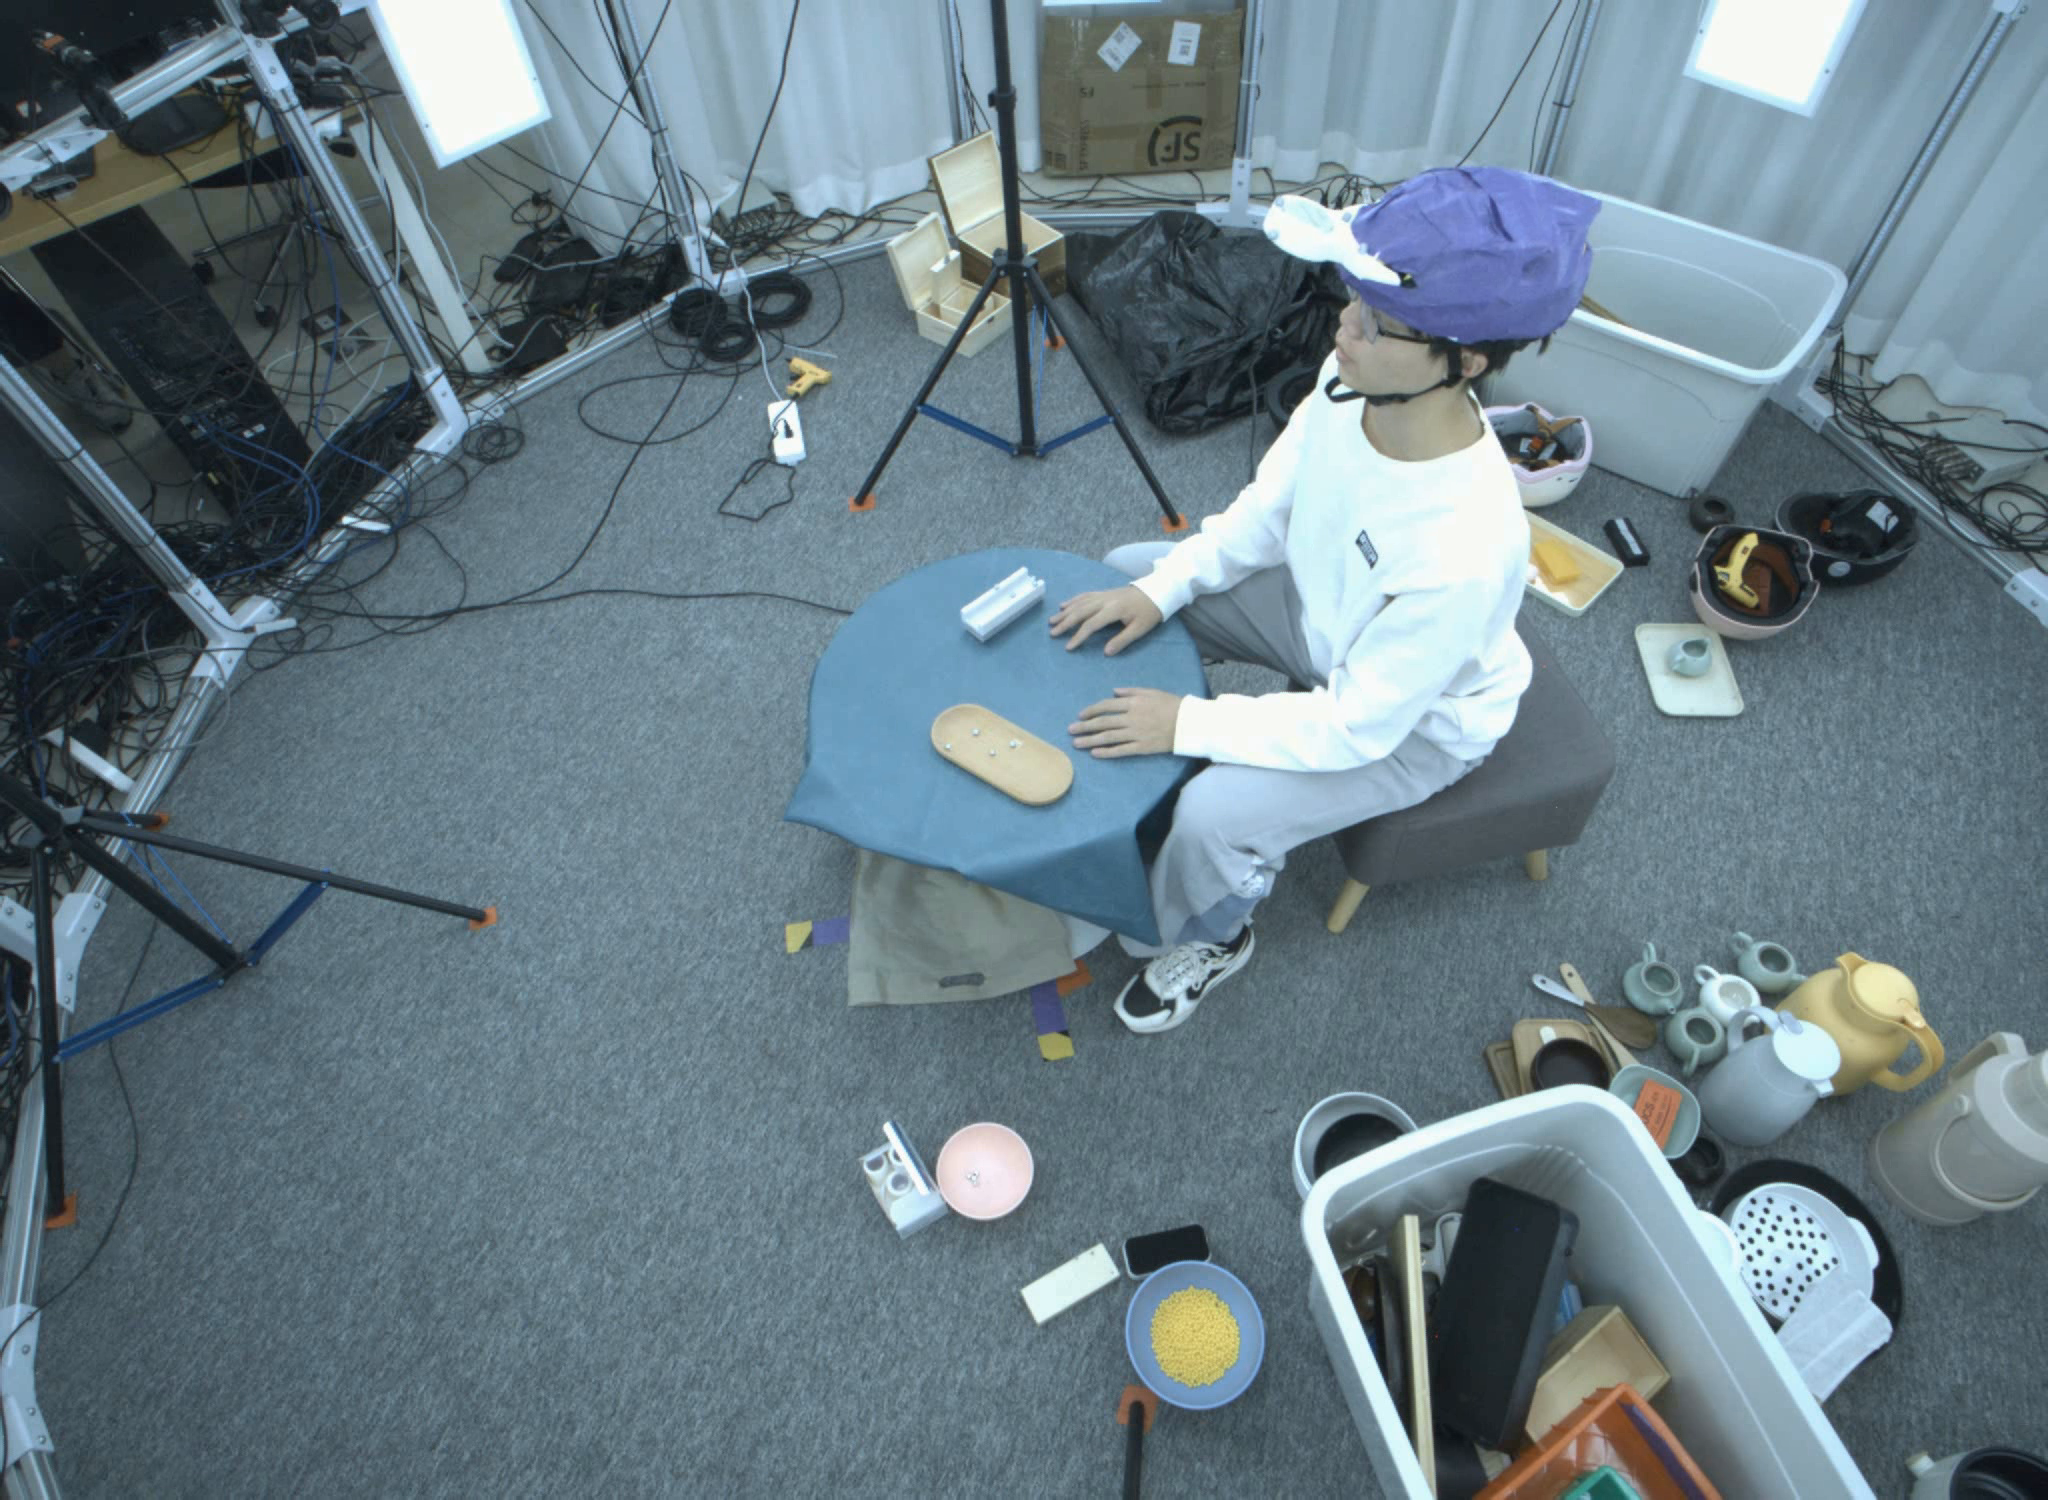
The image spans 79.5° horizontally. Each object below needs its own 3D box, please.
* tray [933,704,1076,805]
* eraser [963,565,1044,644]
[{"bbox_3d":[-0.030,0.006,1.771,0.228,0.020,0.102,29,61,19],"label":"tray"},{"bbox_3d":[-0.031,-0.227,1.919,0.049,0.047,0.135,38,63,20],"label":"eraser"}]
